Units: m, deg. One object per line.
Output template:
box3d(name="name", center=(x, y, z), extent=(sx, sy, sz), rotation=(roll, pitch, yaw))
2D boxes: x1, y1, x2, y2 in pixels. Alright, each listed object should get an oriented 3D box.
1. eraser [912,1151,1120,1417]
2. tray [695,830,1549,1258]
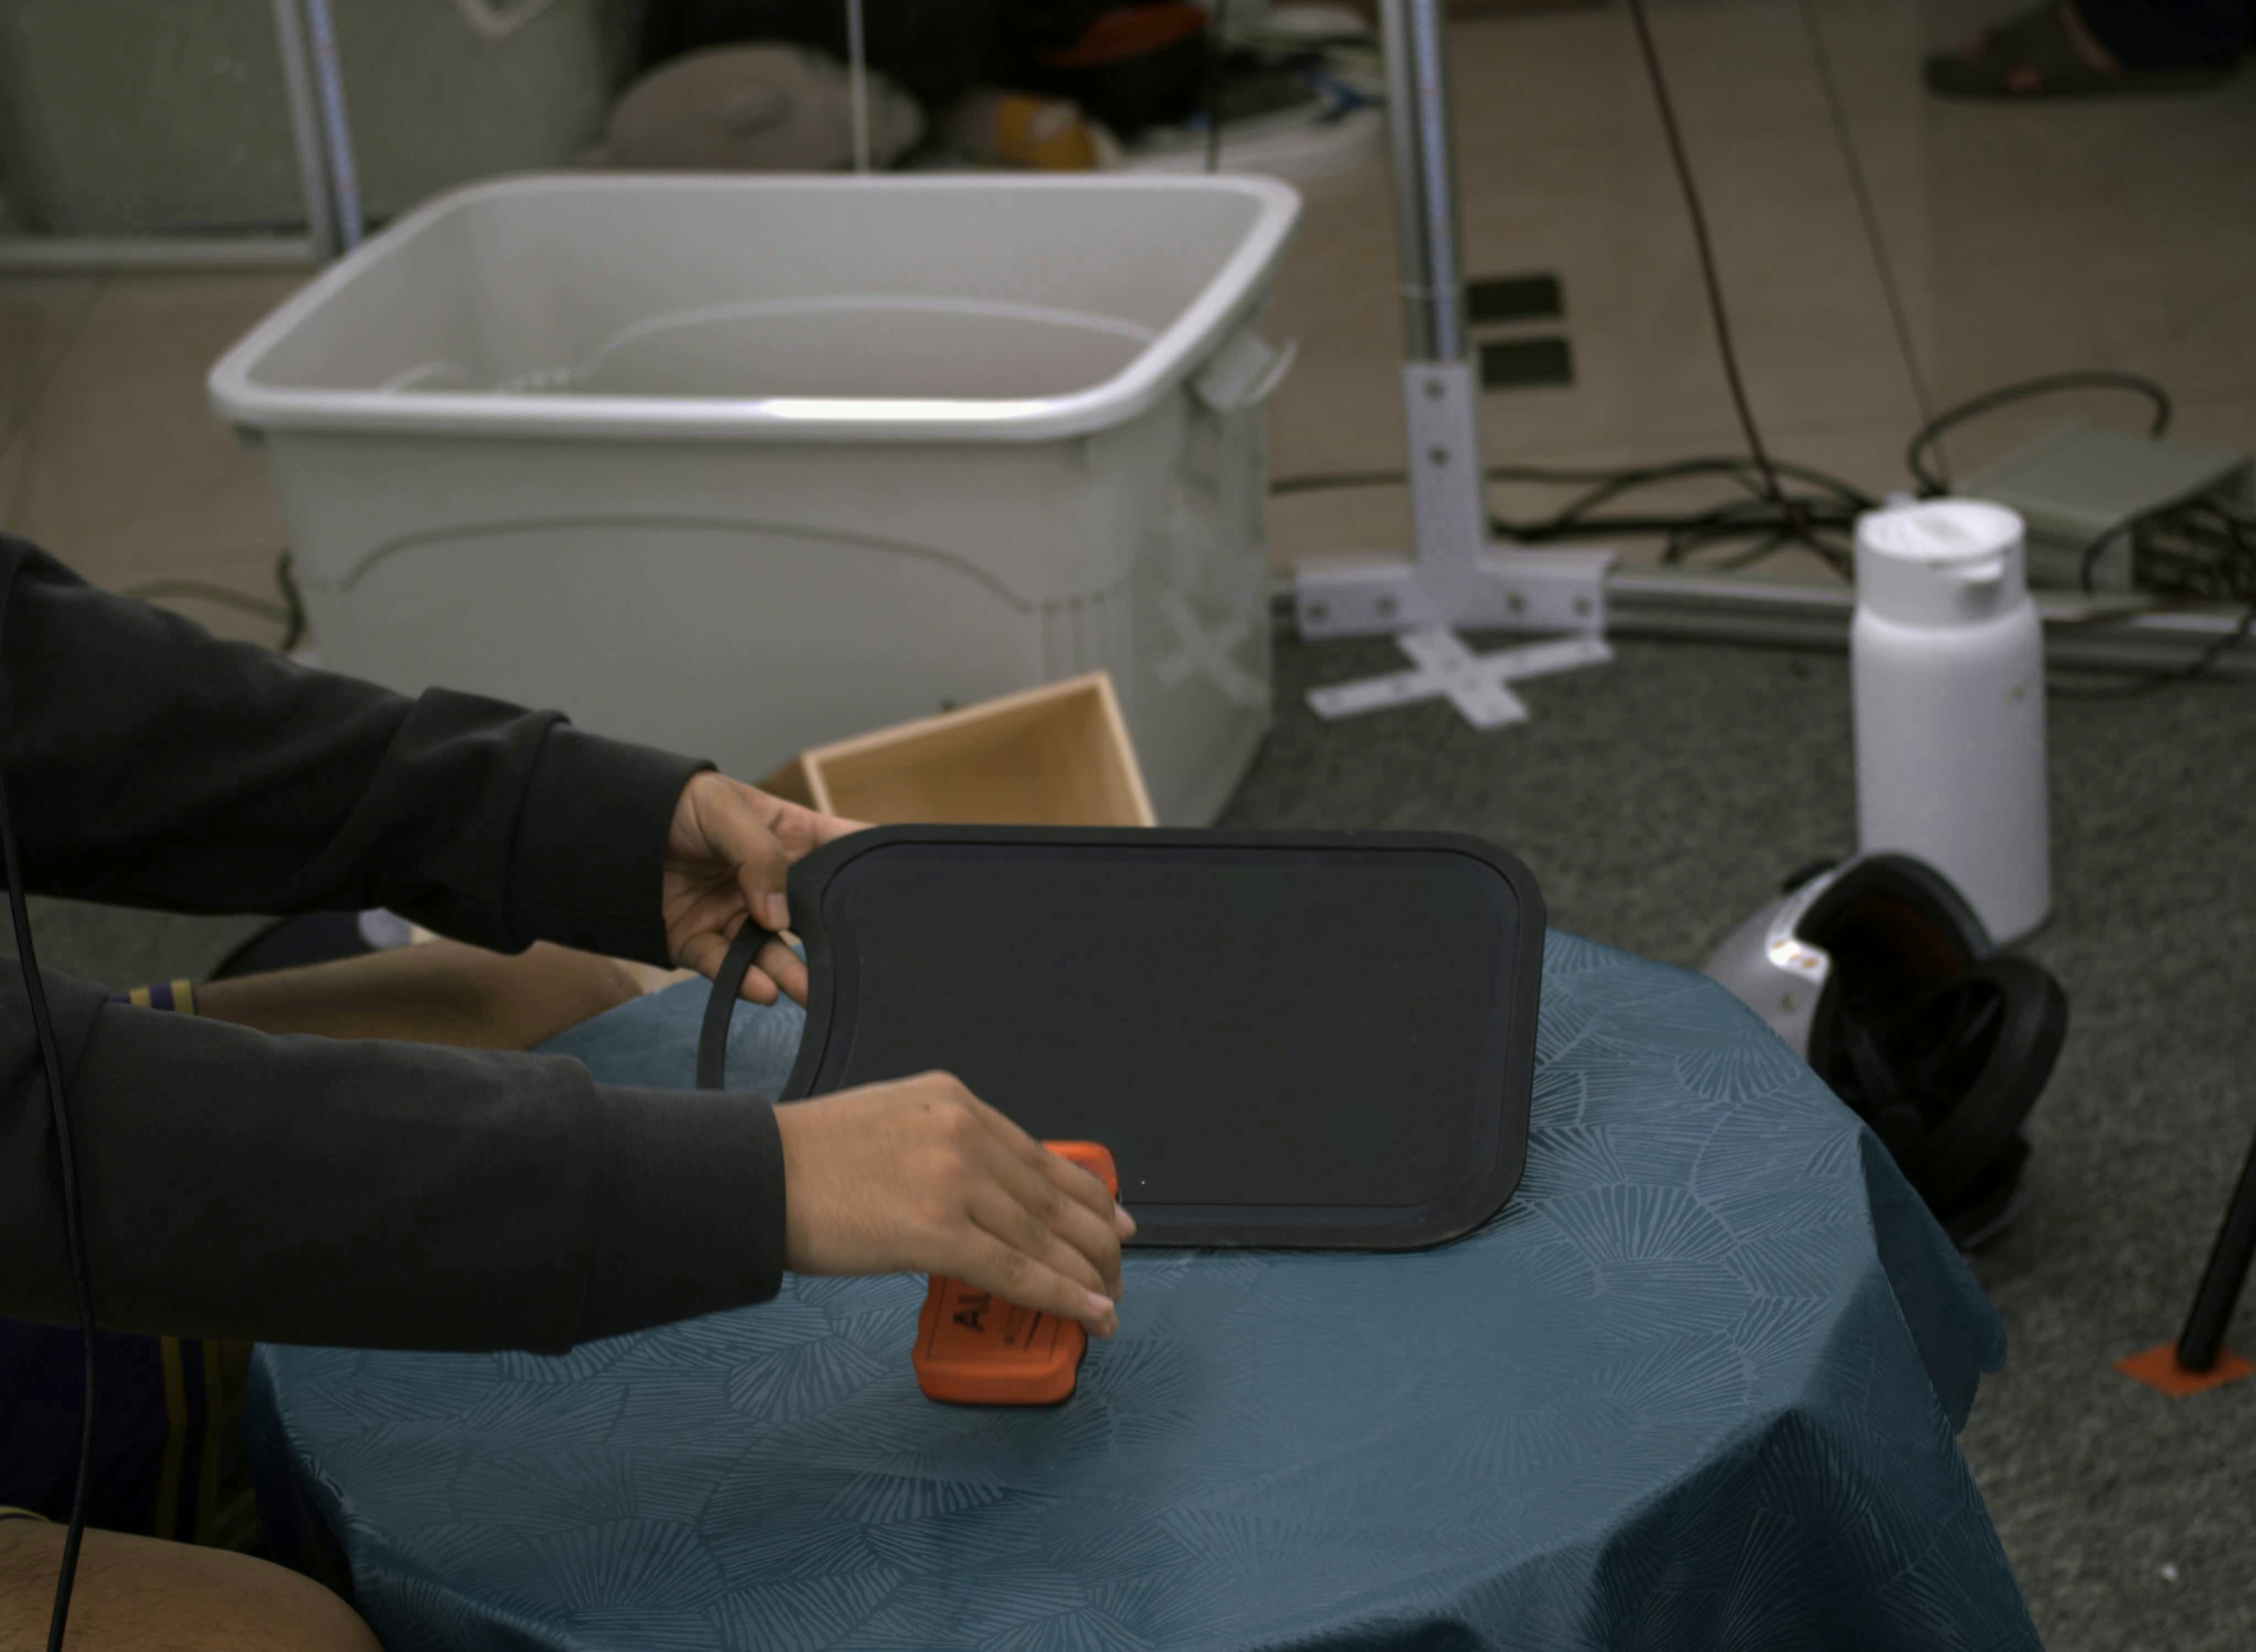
box3d(name="eraser", center=(-0.039, 0.161, 2.002), extent=(0.059, 0.023, 0.106), rotation=(0, 45, 13))
box3d(name="tray", center=(-0.005, 0.079, 2.169), extent=(0.325, 0.010, 0.207), rotation=(1, 48, 10))
